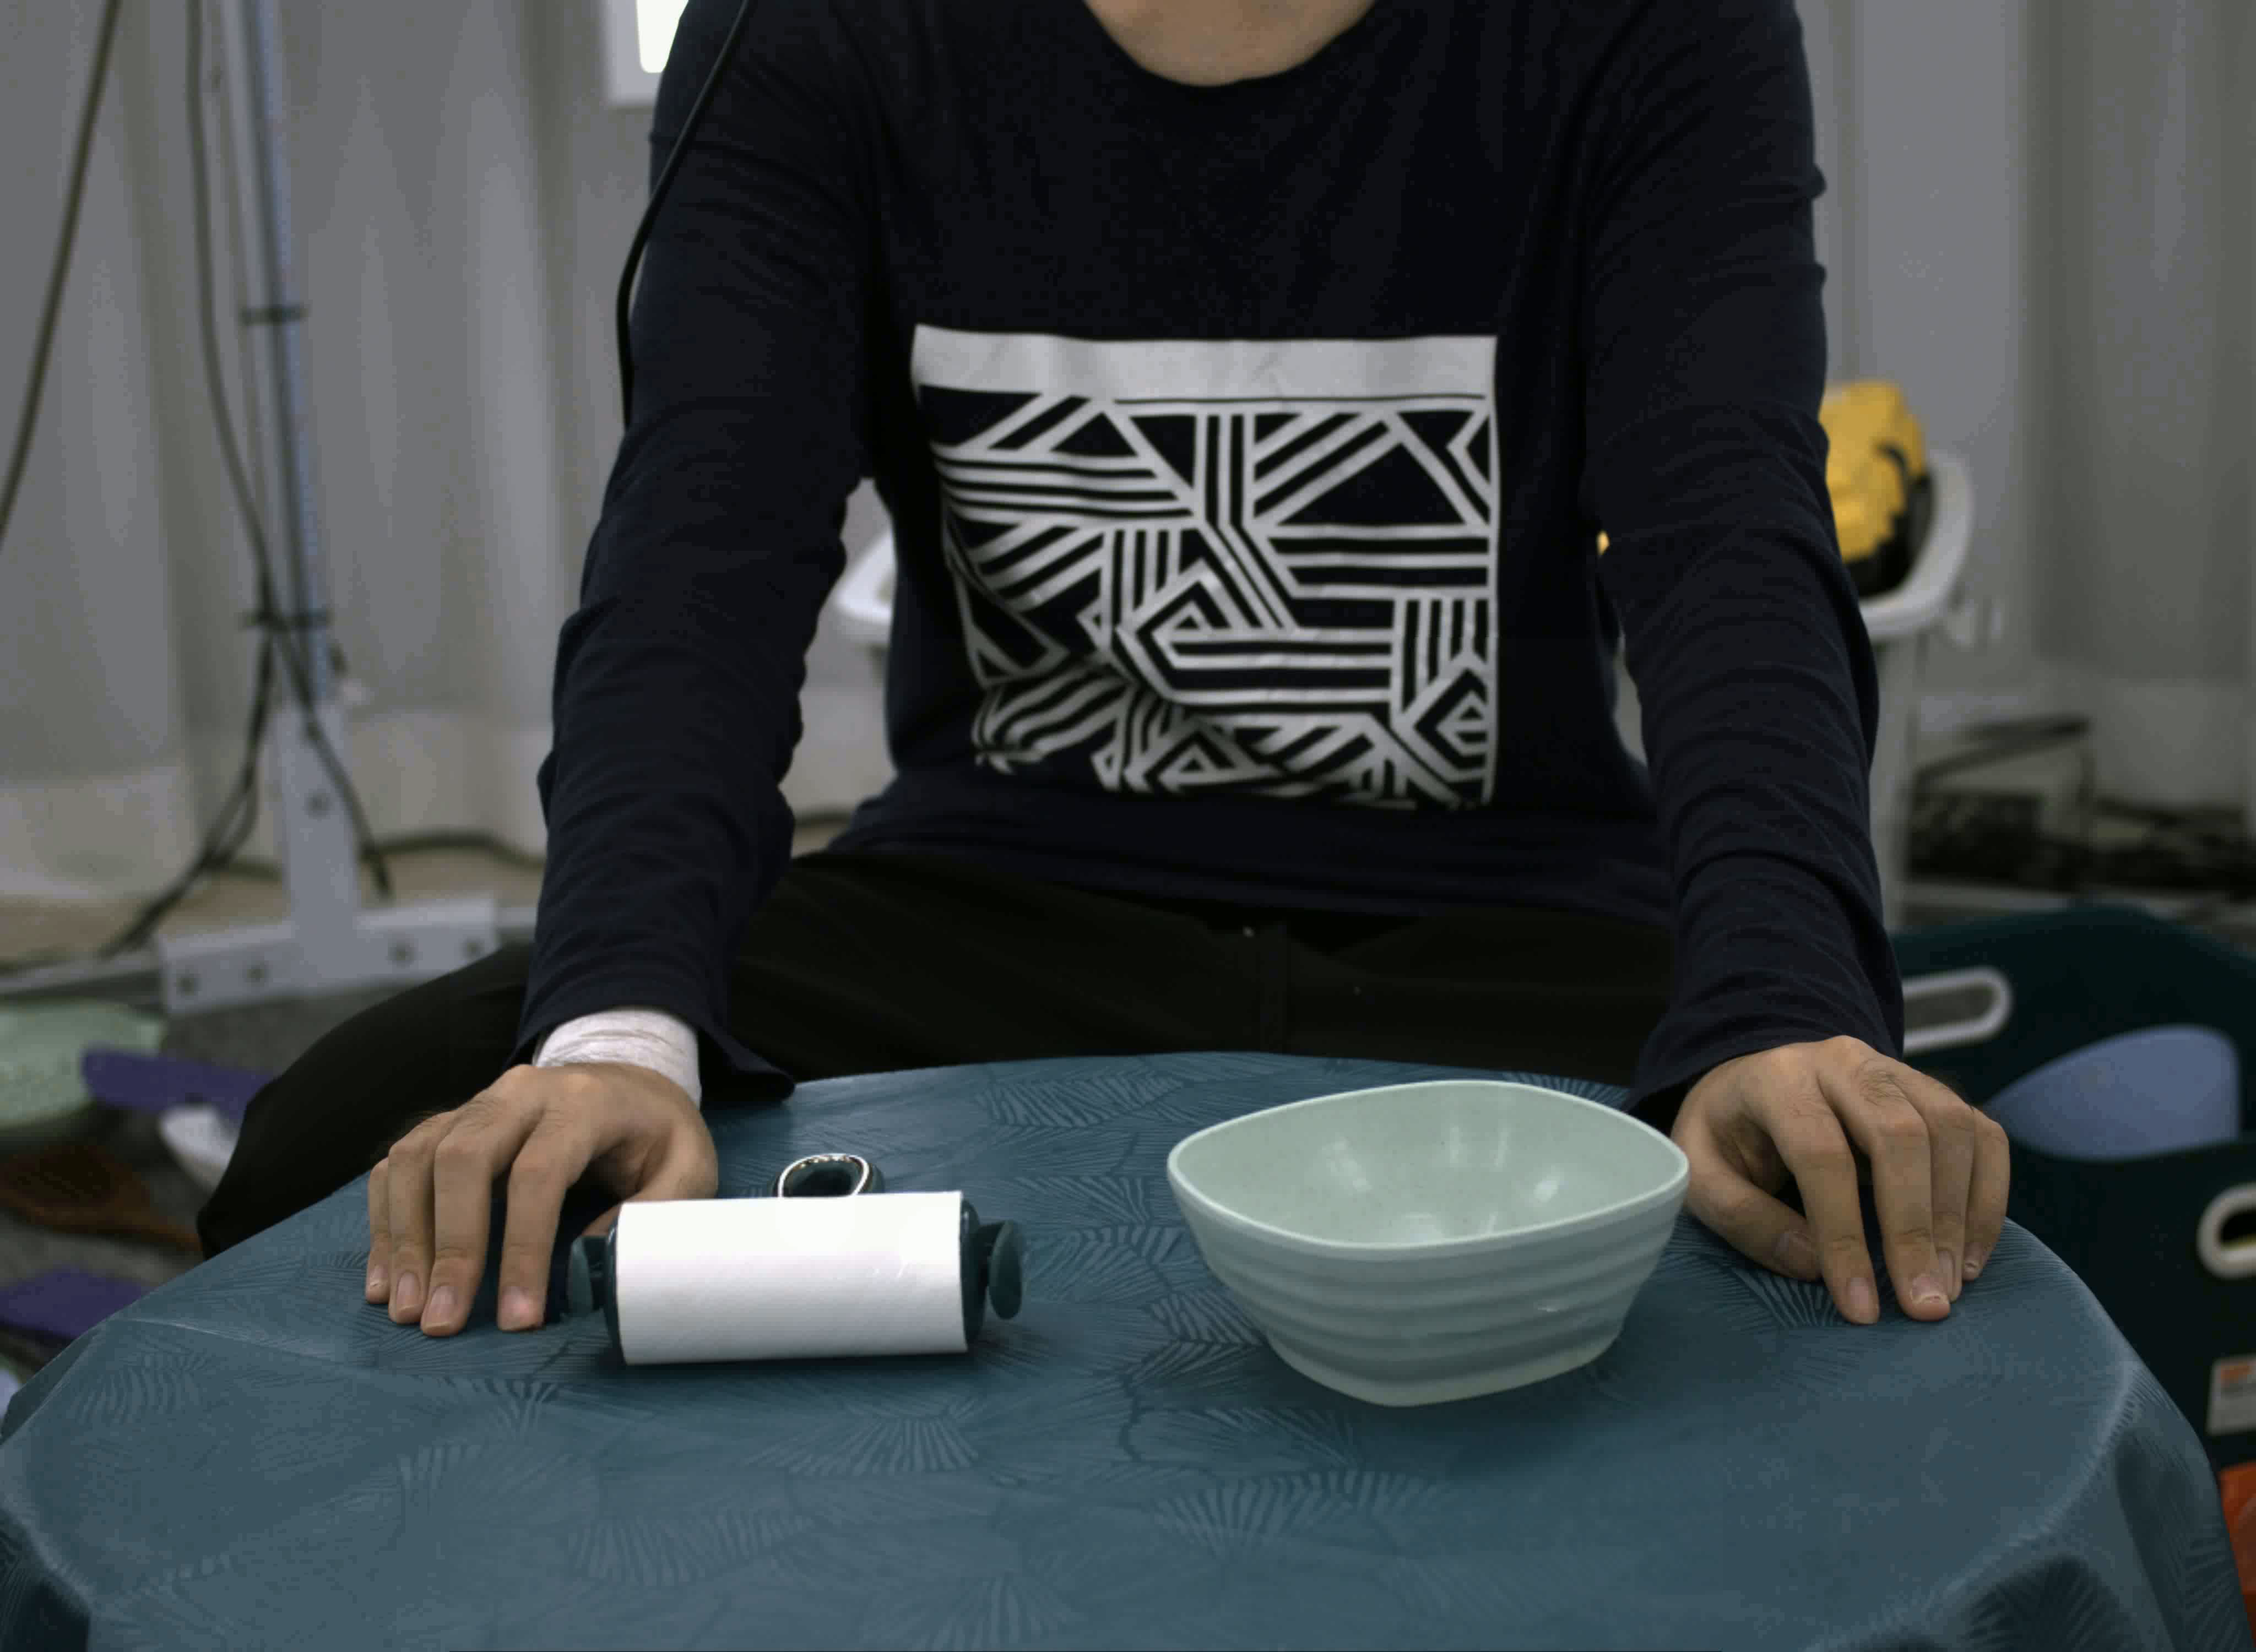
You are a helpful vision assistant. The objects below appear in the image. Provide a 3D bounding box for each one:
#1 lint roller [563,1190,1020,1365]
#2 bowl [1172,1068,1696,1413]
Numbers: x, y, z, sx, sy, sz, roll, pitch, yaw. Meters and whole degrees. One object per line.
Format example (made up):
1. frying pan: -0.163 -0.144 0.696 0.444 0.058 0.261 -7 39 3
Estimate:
1. lint roller: -0.096 0.118 1.648 0.134 0.048 0.181 -2 12 1
2. bowl: 0.088 0.122 1.562 0.151 0.058 0.152 -2 17 0
